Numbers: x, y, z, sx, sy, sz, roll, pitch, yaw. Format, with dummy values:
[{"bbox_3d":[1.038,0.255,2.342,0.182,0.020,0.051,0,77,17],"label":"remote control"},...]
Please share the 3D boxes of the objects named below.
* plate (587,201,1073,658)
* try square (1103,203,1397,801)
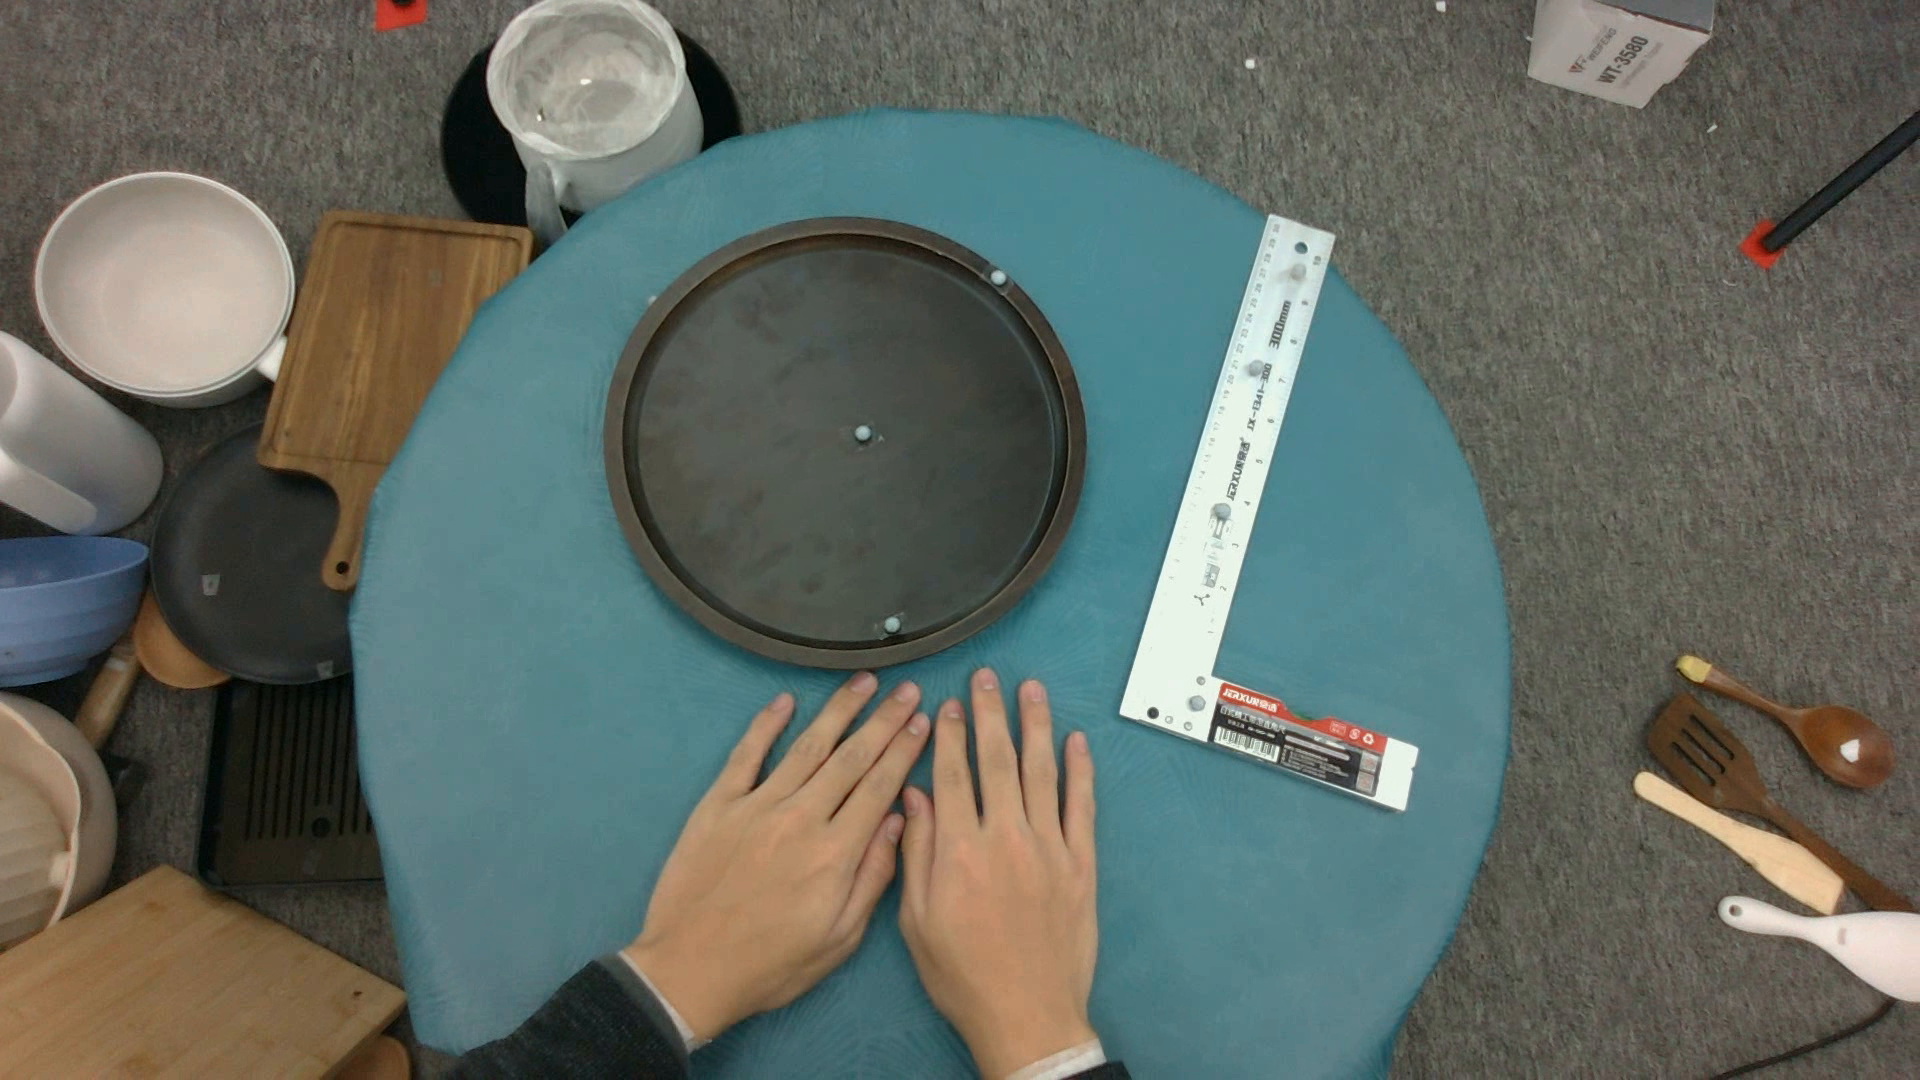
[{"bbox_3d":[-0.066,-0.061,0.726,0.255,0.029,0.255,2,73,-5],"label":"plate"},{"bbox_3d":[0.191,-0.030,0.750,0.152,0.016,0.314,19,72,-1],"label":"try square"}]
